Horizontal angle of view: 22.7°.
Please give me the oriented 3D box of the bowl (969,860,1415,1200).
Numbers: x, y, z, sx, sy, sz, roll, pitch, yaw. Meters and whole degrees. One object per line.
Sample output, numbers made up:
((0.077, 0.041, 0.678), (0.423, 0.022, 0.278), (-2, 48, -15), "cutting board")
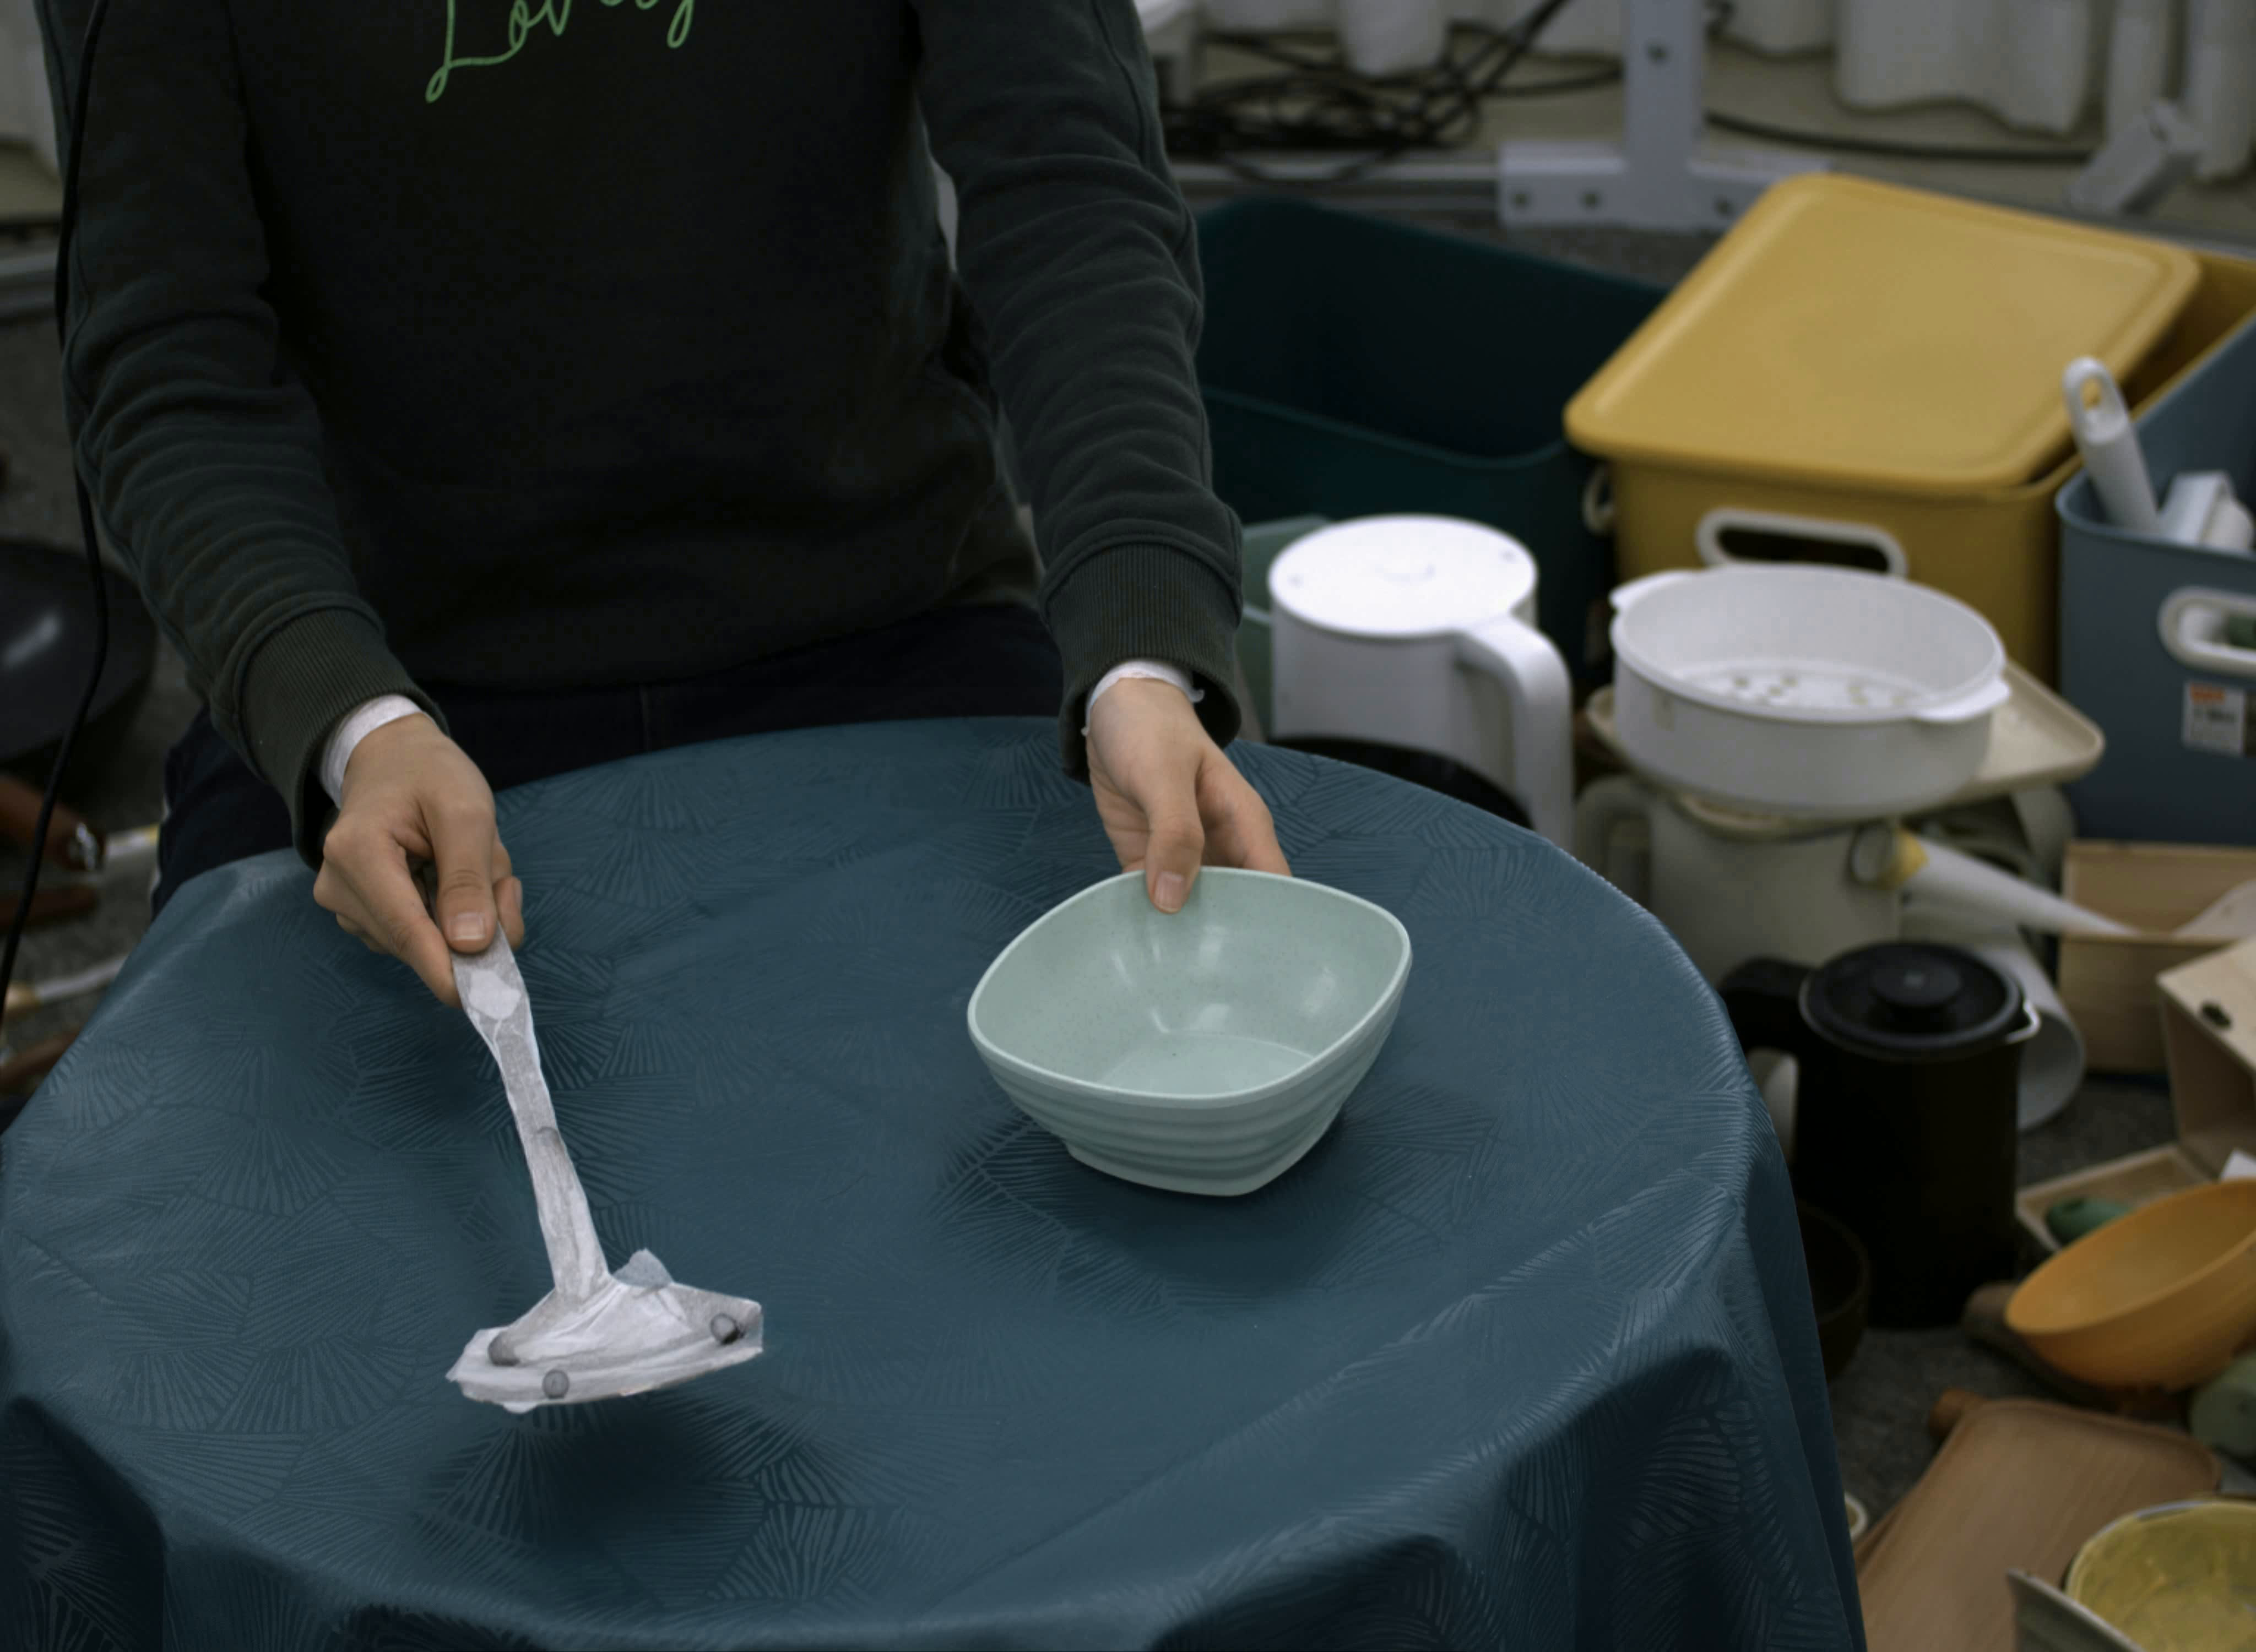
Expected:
((0.024, 0.075, 1.879), (0.150, 0.058, 0.154), (-4, 31, 3), "bowl")

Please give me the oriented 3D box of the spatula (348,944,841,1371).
((-0.196, 0.100, 1.807), (0.099, 0.044, 0.367), (-1, 25, -25), "spatula")
